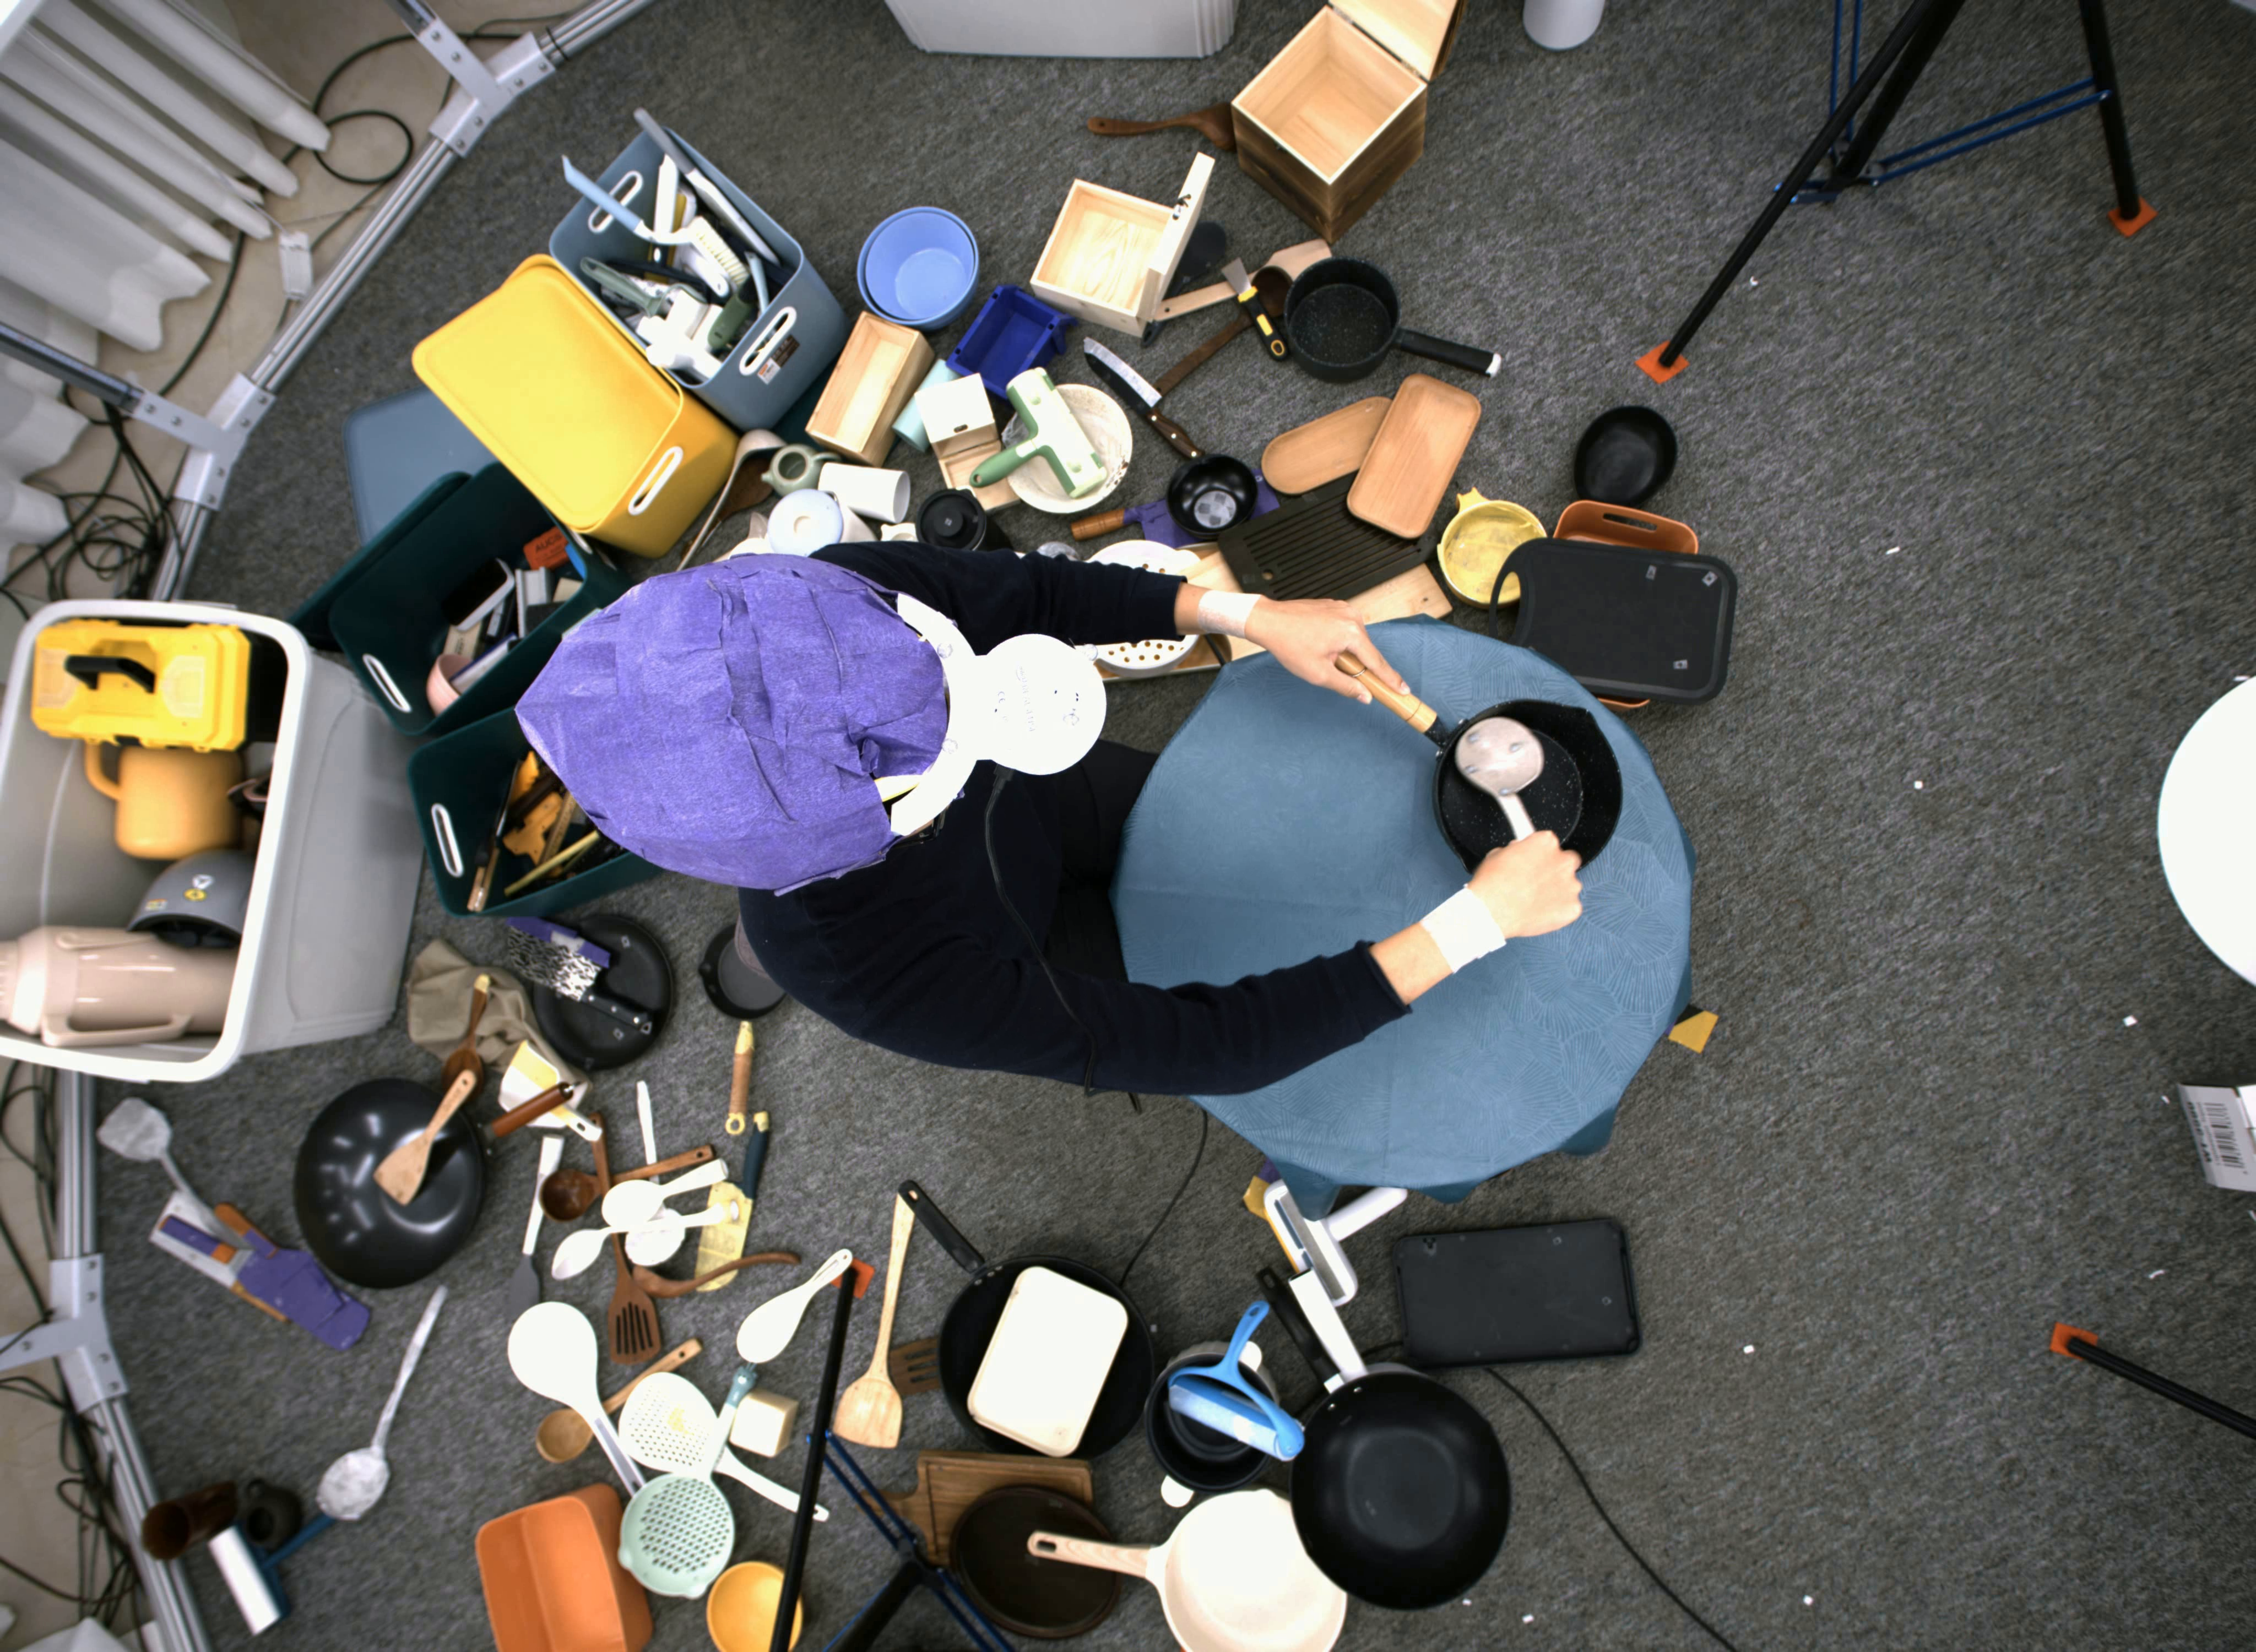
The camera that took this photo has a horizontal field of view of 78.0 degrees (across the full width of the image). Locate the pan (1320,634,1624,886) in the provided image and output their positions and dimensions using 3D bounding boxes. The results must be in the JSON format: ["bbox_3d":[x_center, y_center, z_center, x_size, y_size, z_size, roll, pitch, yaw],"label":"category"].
[{"bbox_3d":[0.332,-0.080,1.383,0.343,0.108,0.208,35,94,2],"label":"pan"}]

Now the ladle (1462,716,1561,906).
[{"bbox_3d":[0.381,-0.024,1.305,0.089,0.268,0.071,9,118,-2],"label":"ladle"}]
